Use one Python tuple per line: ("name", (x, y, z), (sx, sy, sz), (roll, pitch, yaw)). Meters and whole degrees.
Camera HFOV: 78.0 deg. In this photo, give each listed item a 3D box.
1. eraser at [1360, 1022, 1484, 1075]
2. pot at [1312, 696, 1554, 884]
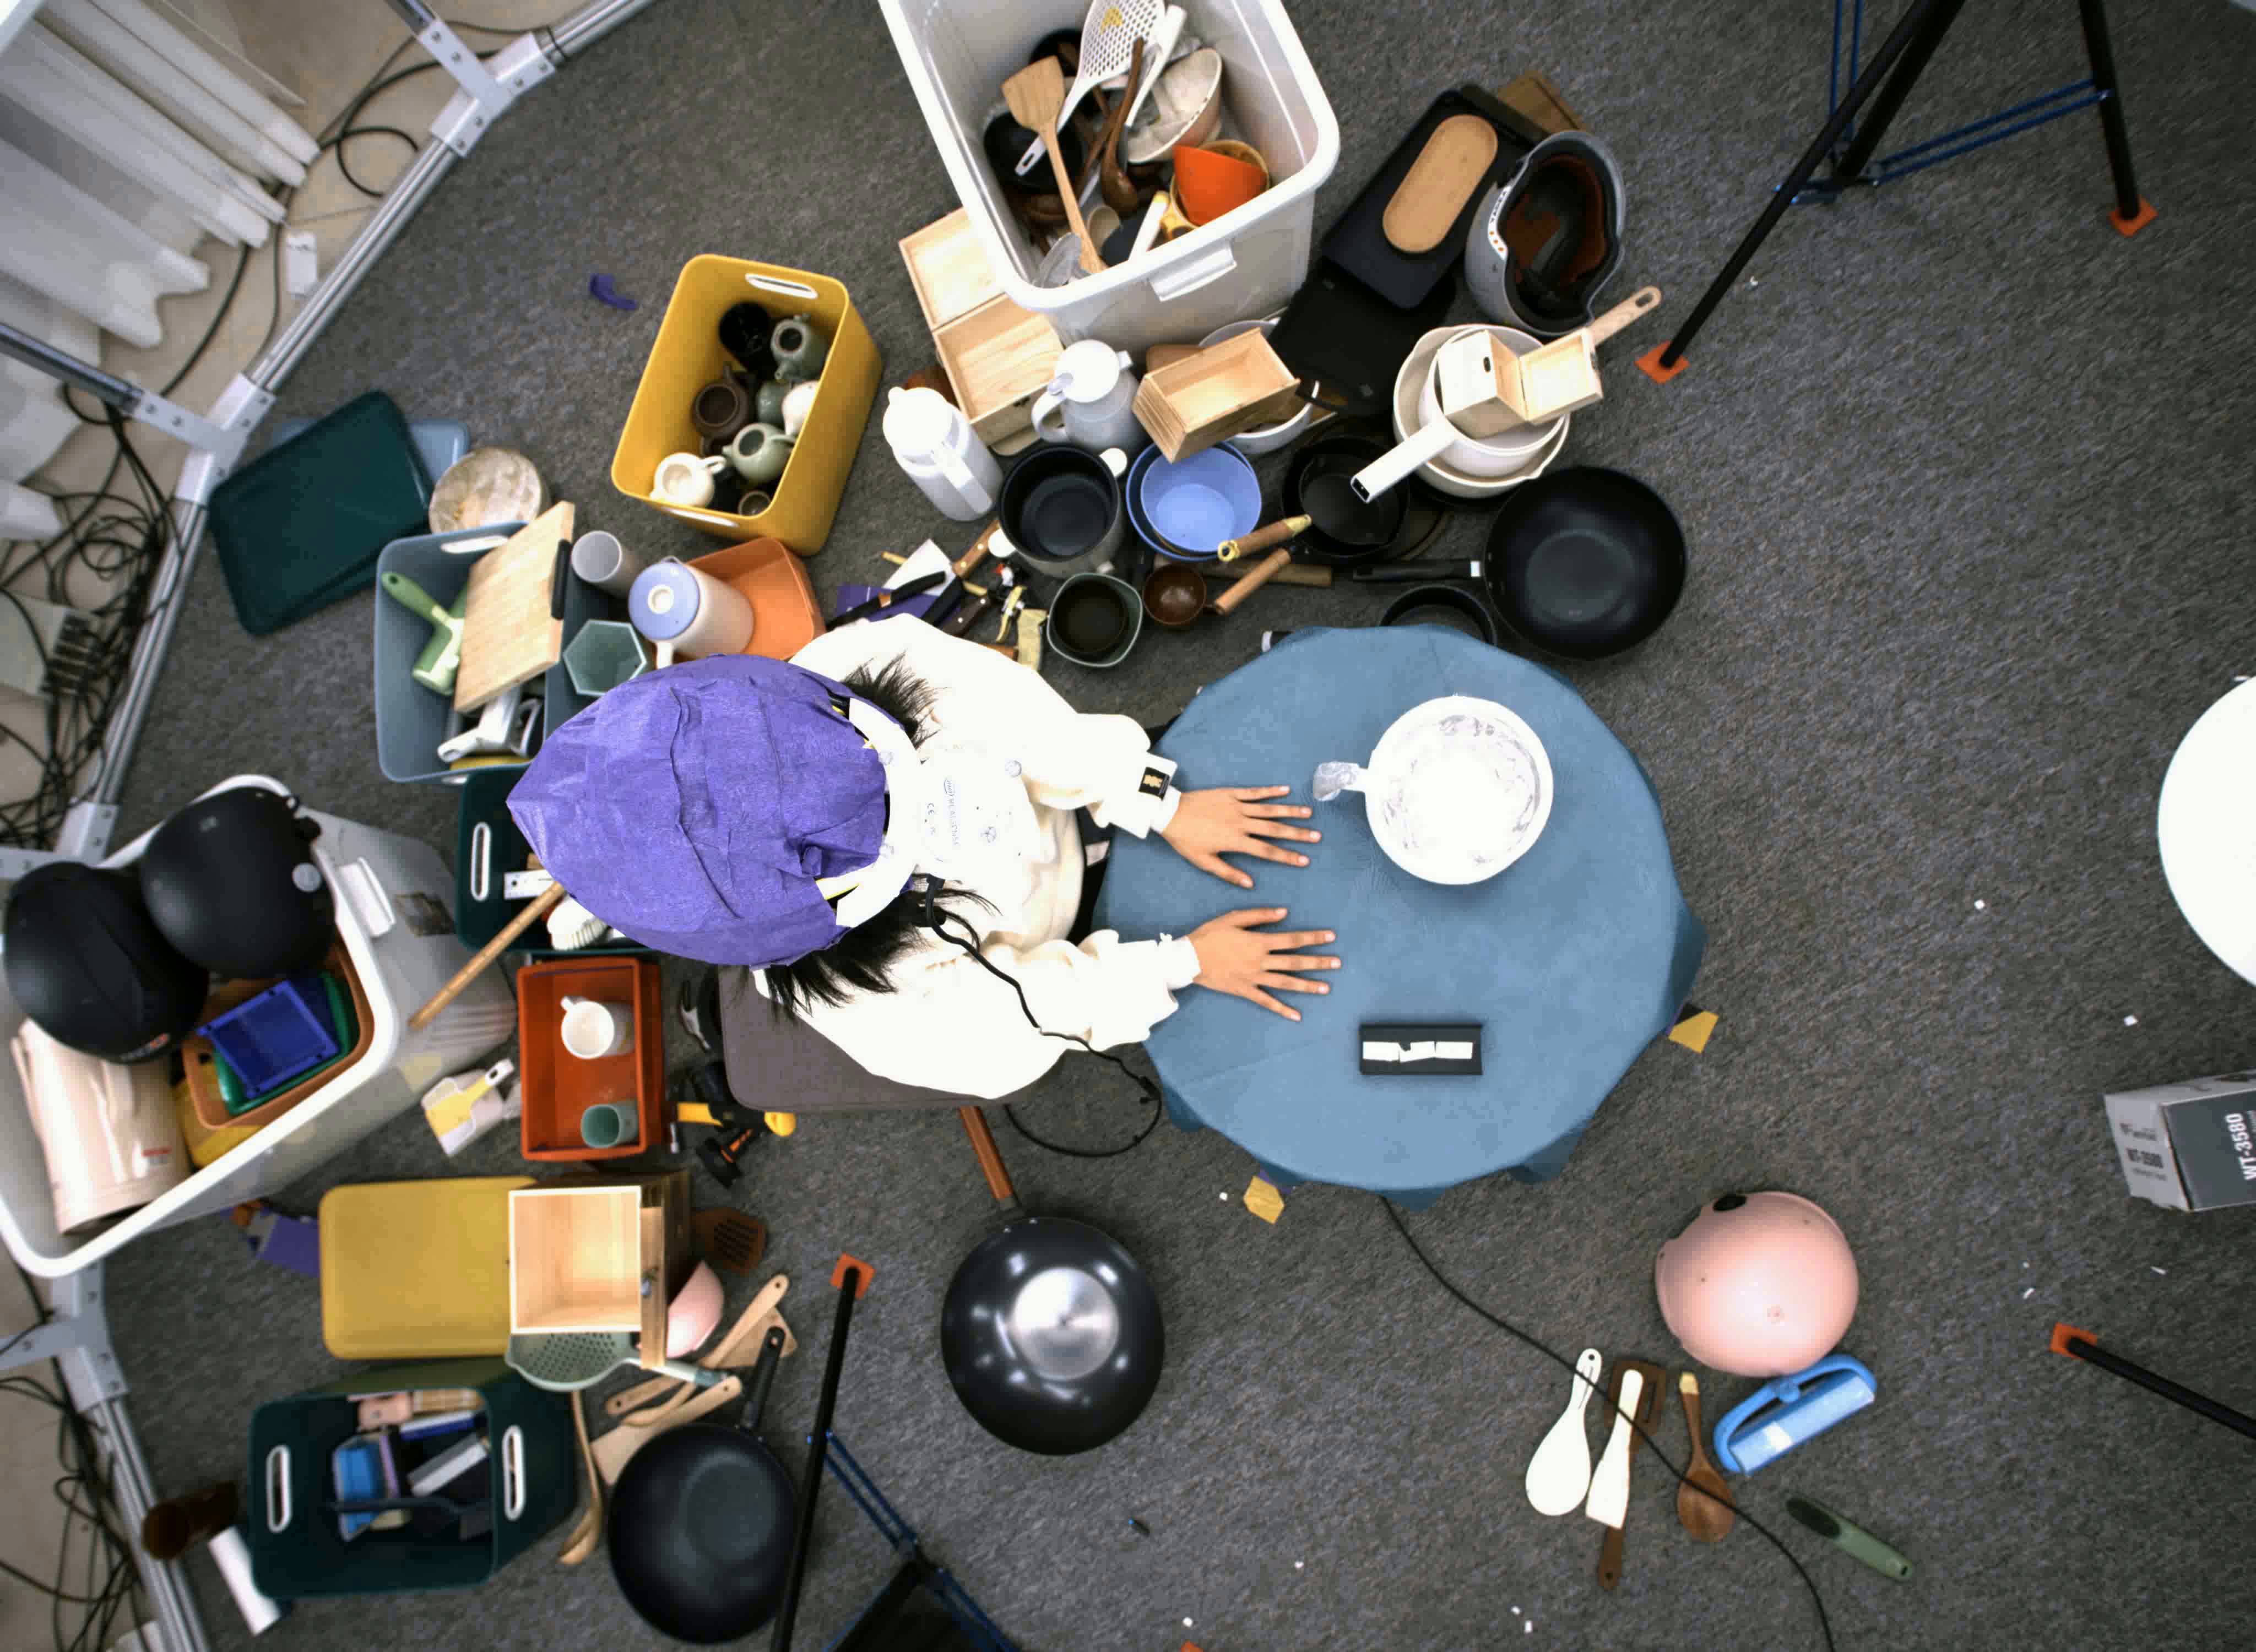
("eraser", (0.304, 0.228, 1.432), (0.126, 0.030, 0.053), (-1, 85, 12))
("pot", (0.302, -0.036, 1.389), (0.234, 0.137, 0.178), (6, 87, 10))
